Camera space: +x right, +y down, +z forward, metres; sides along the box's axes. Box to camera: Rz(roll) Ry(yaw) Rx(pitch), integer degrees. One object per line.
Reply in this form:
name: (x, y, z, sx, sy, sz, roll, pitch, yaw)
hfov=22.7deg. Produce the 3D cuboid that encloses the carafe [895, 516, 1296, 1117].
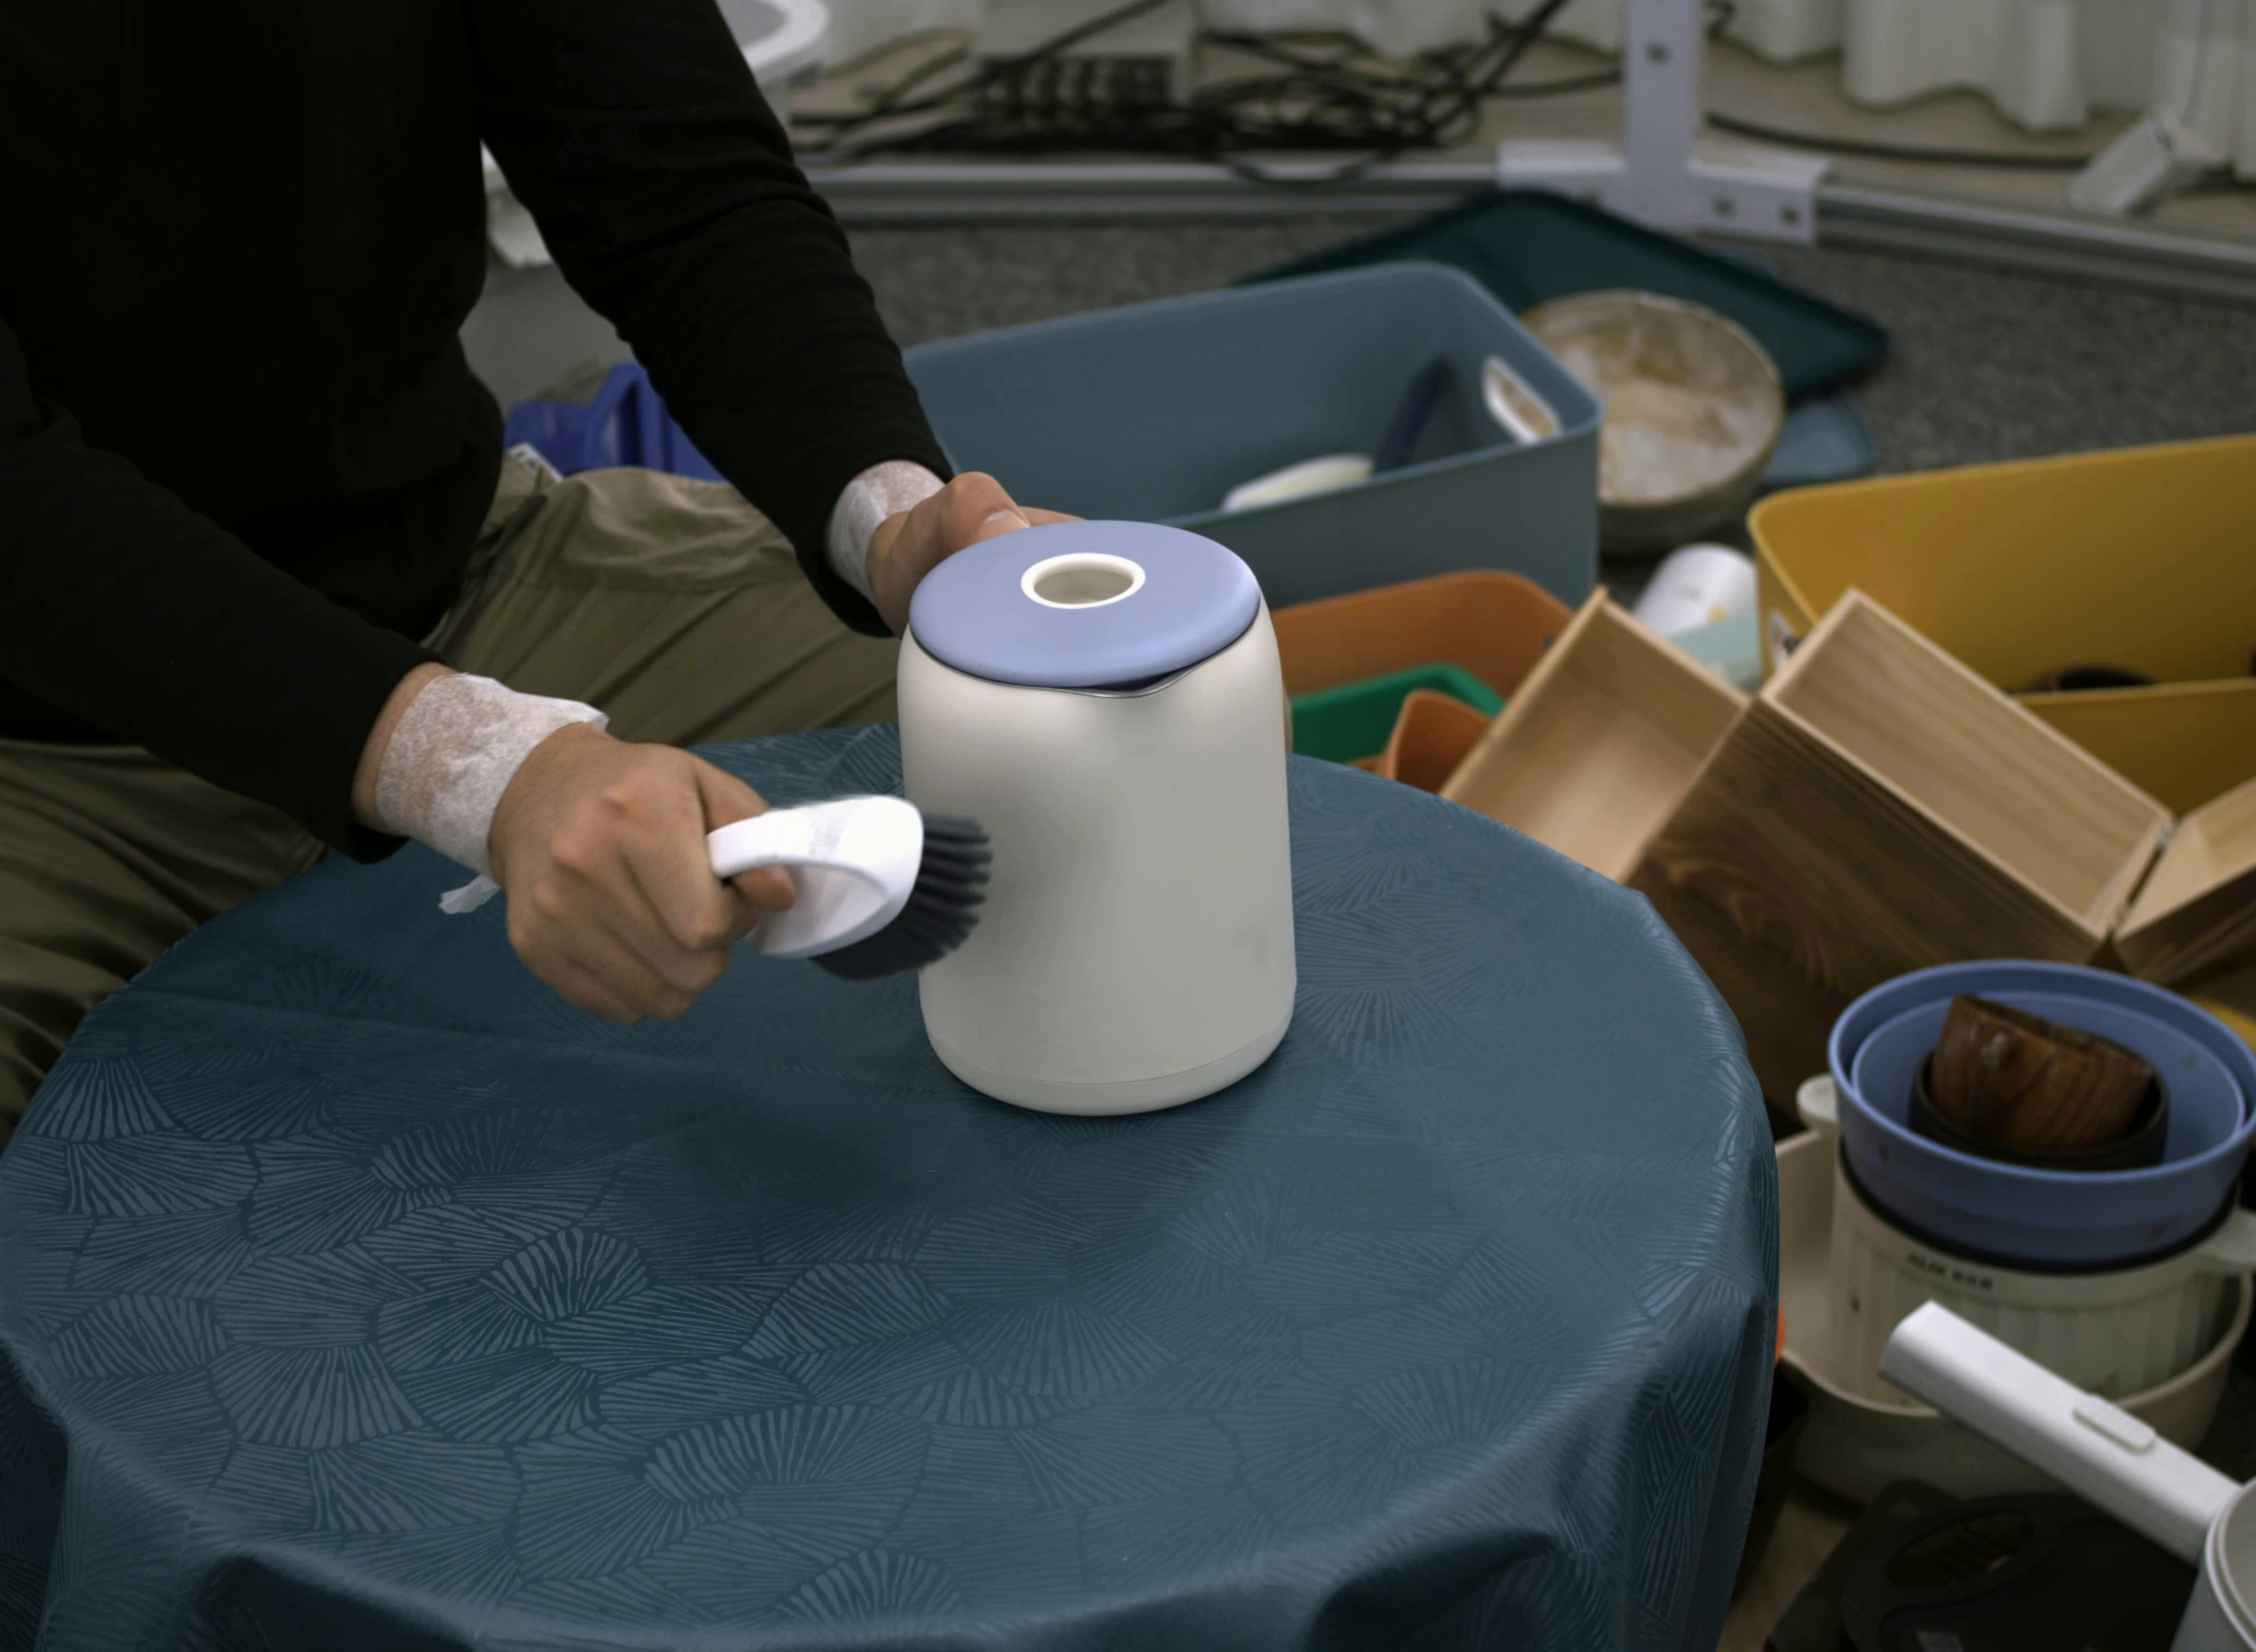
carafe: (-0.018, -0.014, 1.942, 0.132, 0.181, 0.193, -10, 26, -15)

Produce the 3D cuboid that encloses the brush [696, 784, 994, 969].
brush: (-0.098, 0.013, 1.810, 0.072, 0.051, 0.098, 15, -17, -31)
